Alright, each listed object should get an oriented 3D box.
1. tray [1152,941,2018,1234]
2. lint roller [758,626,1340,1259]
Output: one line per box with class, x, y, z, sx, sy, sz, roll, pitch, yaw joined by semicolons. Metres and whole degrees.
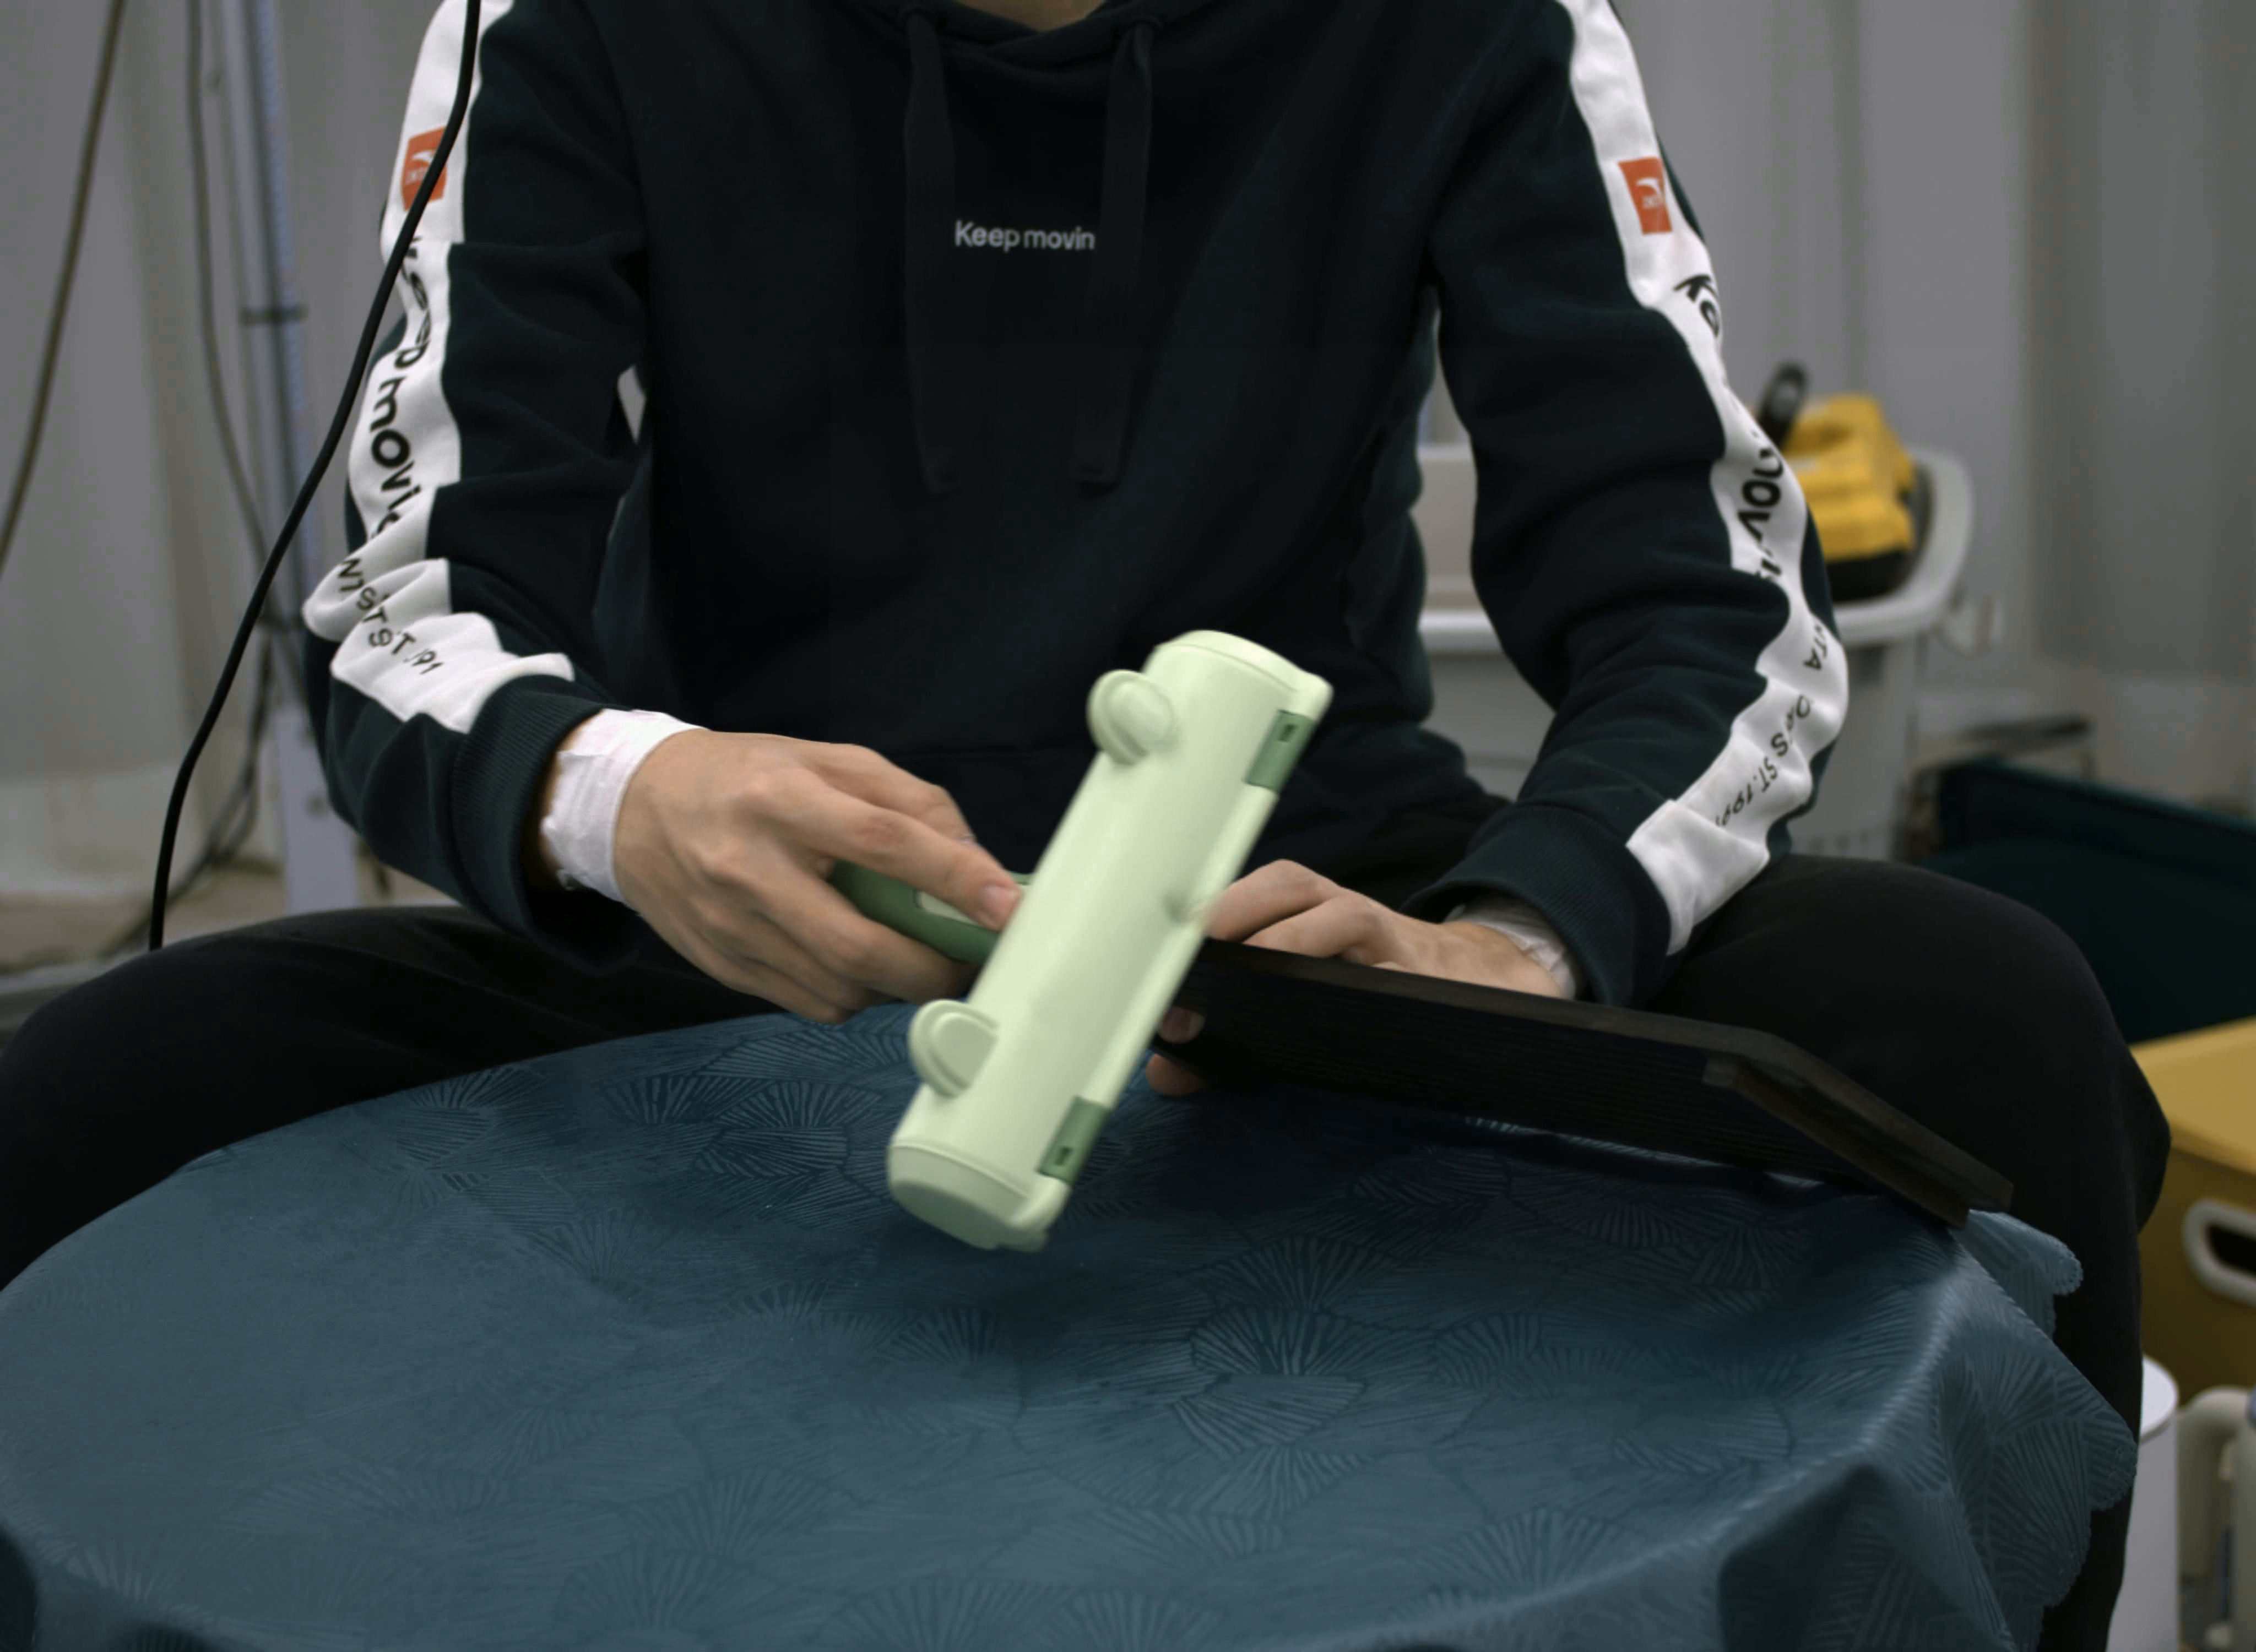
tray;0.104;0.074;1.665;0.307;0.019;0.168;8;-14;37
lint roller;-0.051;0.018;1.635;0.184;0.200;0.081;15;-24;33
